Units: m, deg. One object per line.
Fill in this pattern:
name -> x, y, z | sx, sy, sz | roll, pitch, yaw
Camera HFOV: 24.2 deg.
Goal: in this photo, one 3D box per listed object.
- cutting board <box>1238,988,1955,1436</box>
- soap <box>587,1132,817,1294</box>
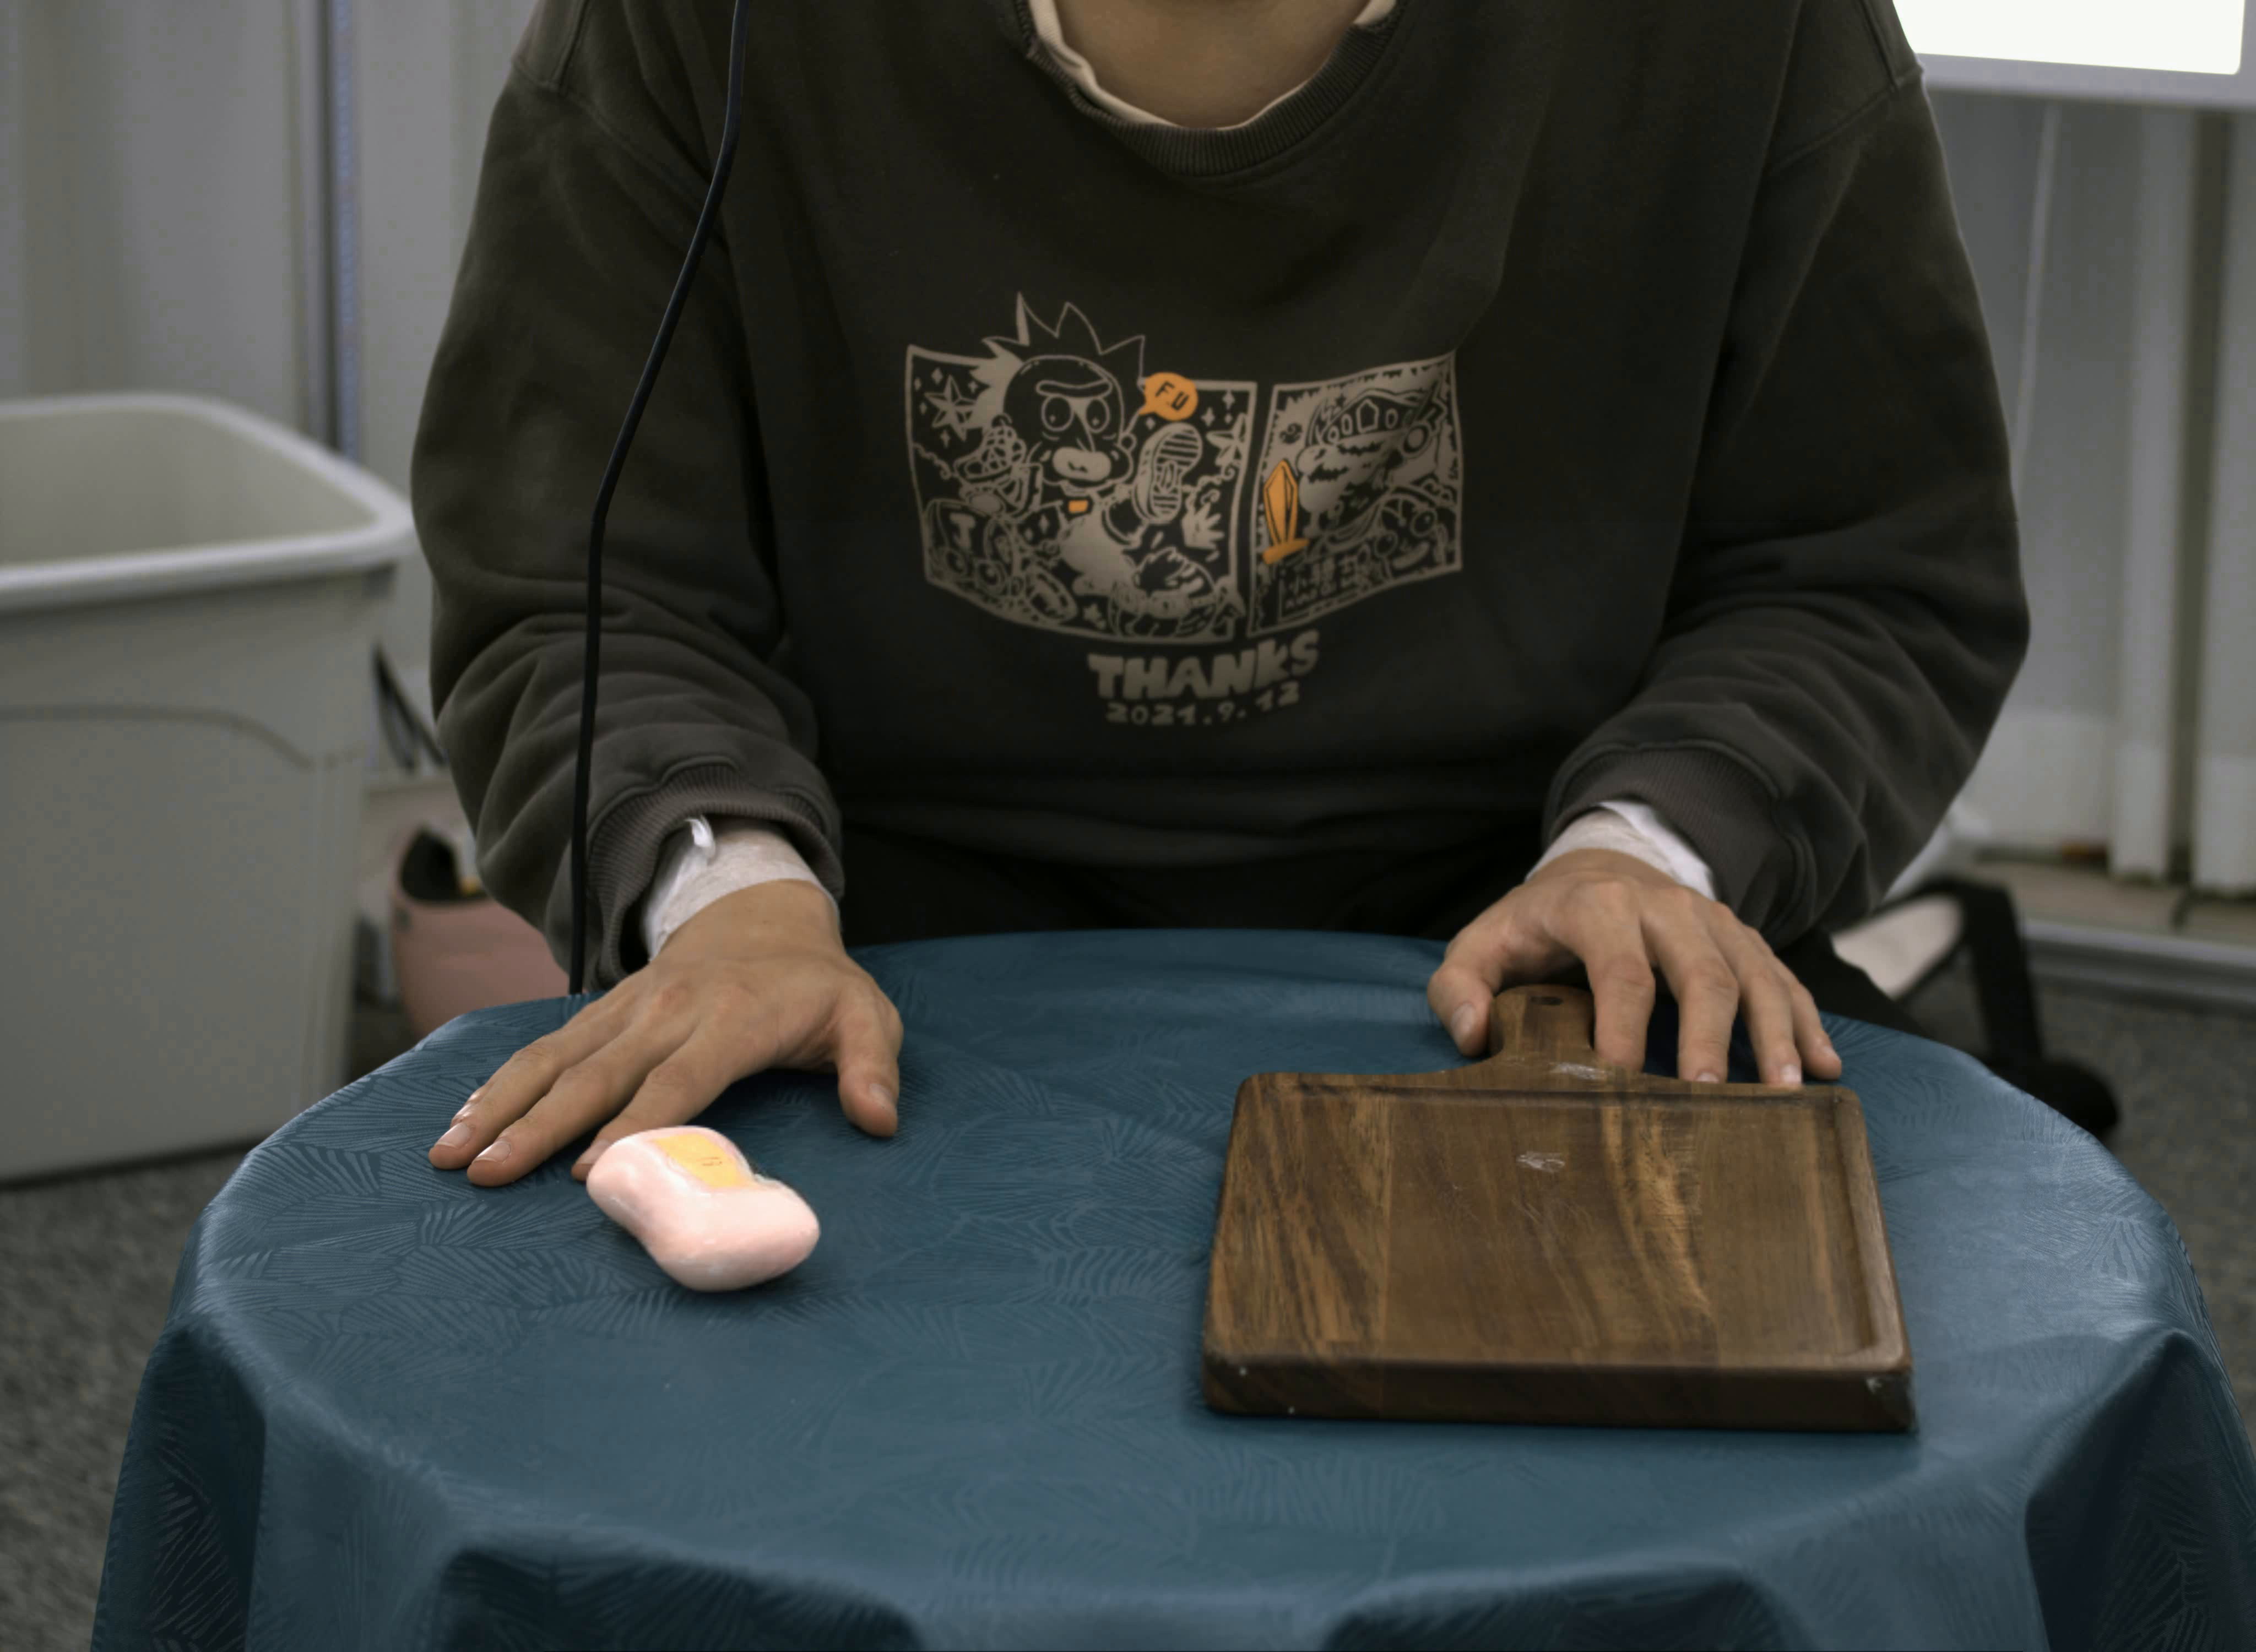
cutting board -> 0.140, 0.110, 1.605 | 0.200, 0.023, 0.351 | 2, 15, 4
soap -> -0.127, 0.115, 1.567 | 0.050, 0.030, 0.093 | -6, 15, -23
